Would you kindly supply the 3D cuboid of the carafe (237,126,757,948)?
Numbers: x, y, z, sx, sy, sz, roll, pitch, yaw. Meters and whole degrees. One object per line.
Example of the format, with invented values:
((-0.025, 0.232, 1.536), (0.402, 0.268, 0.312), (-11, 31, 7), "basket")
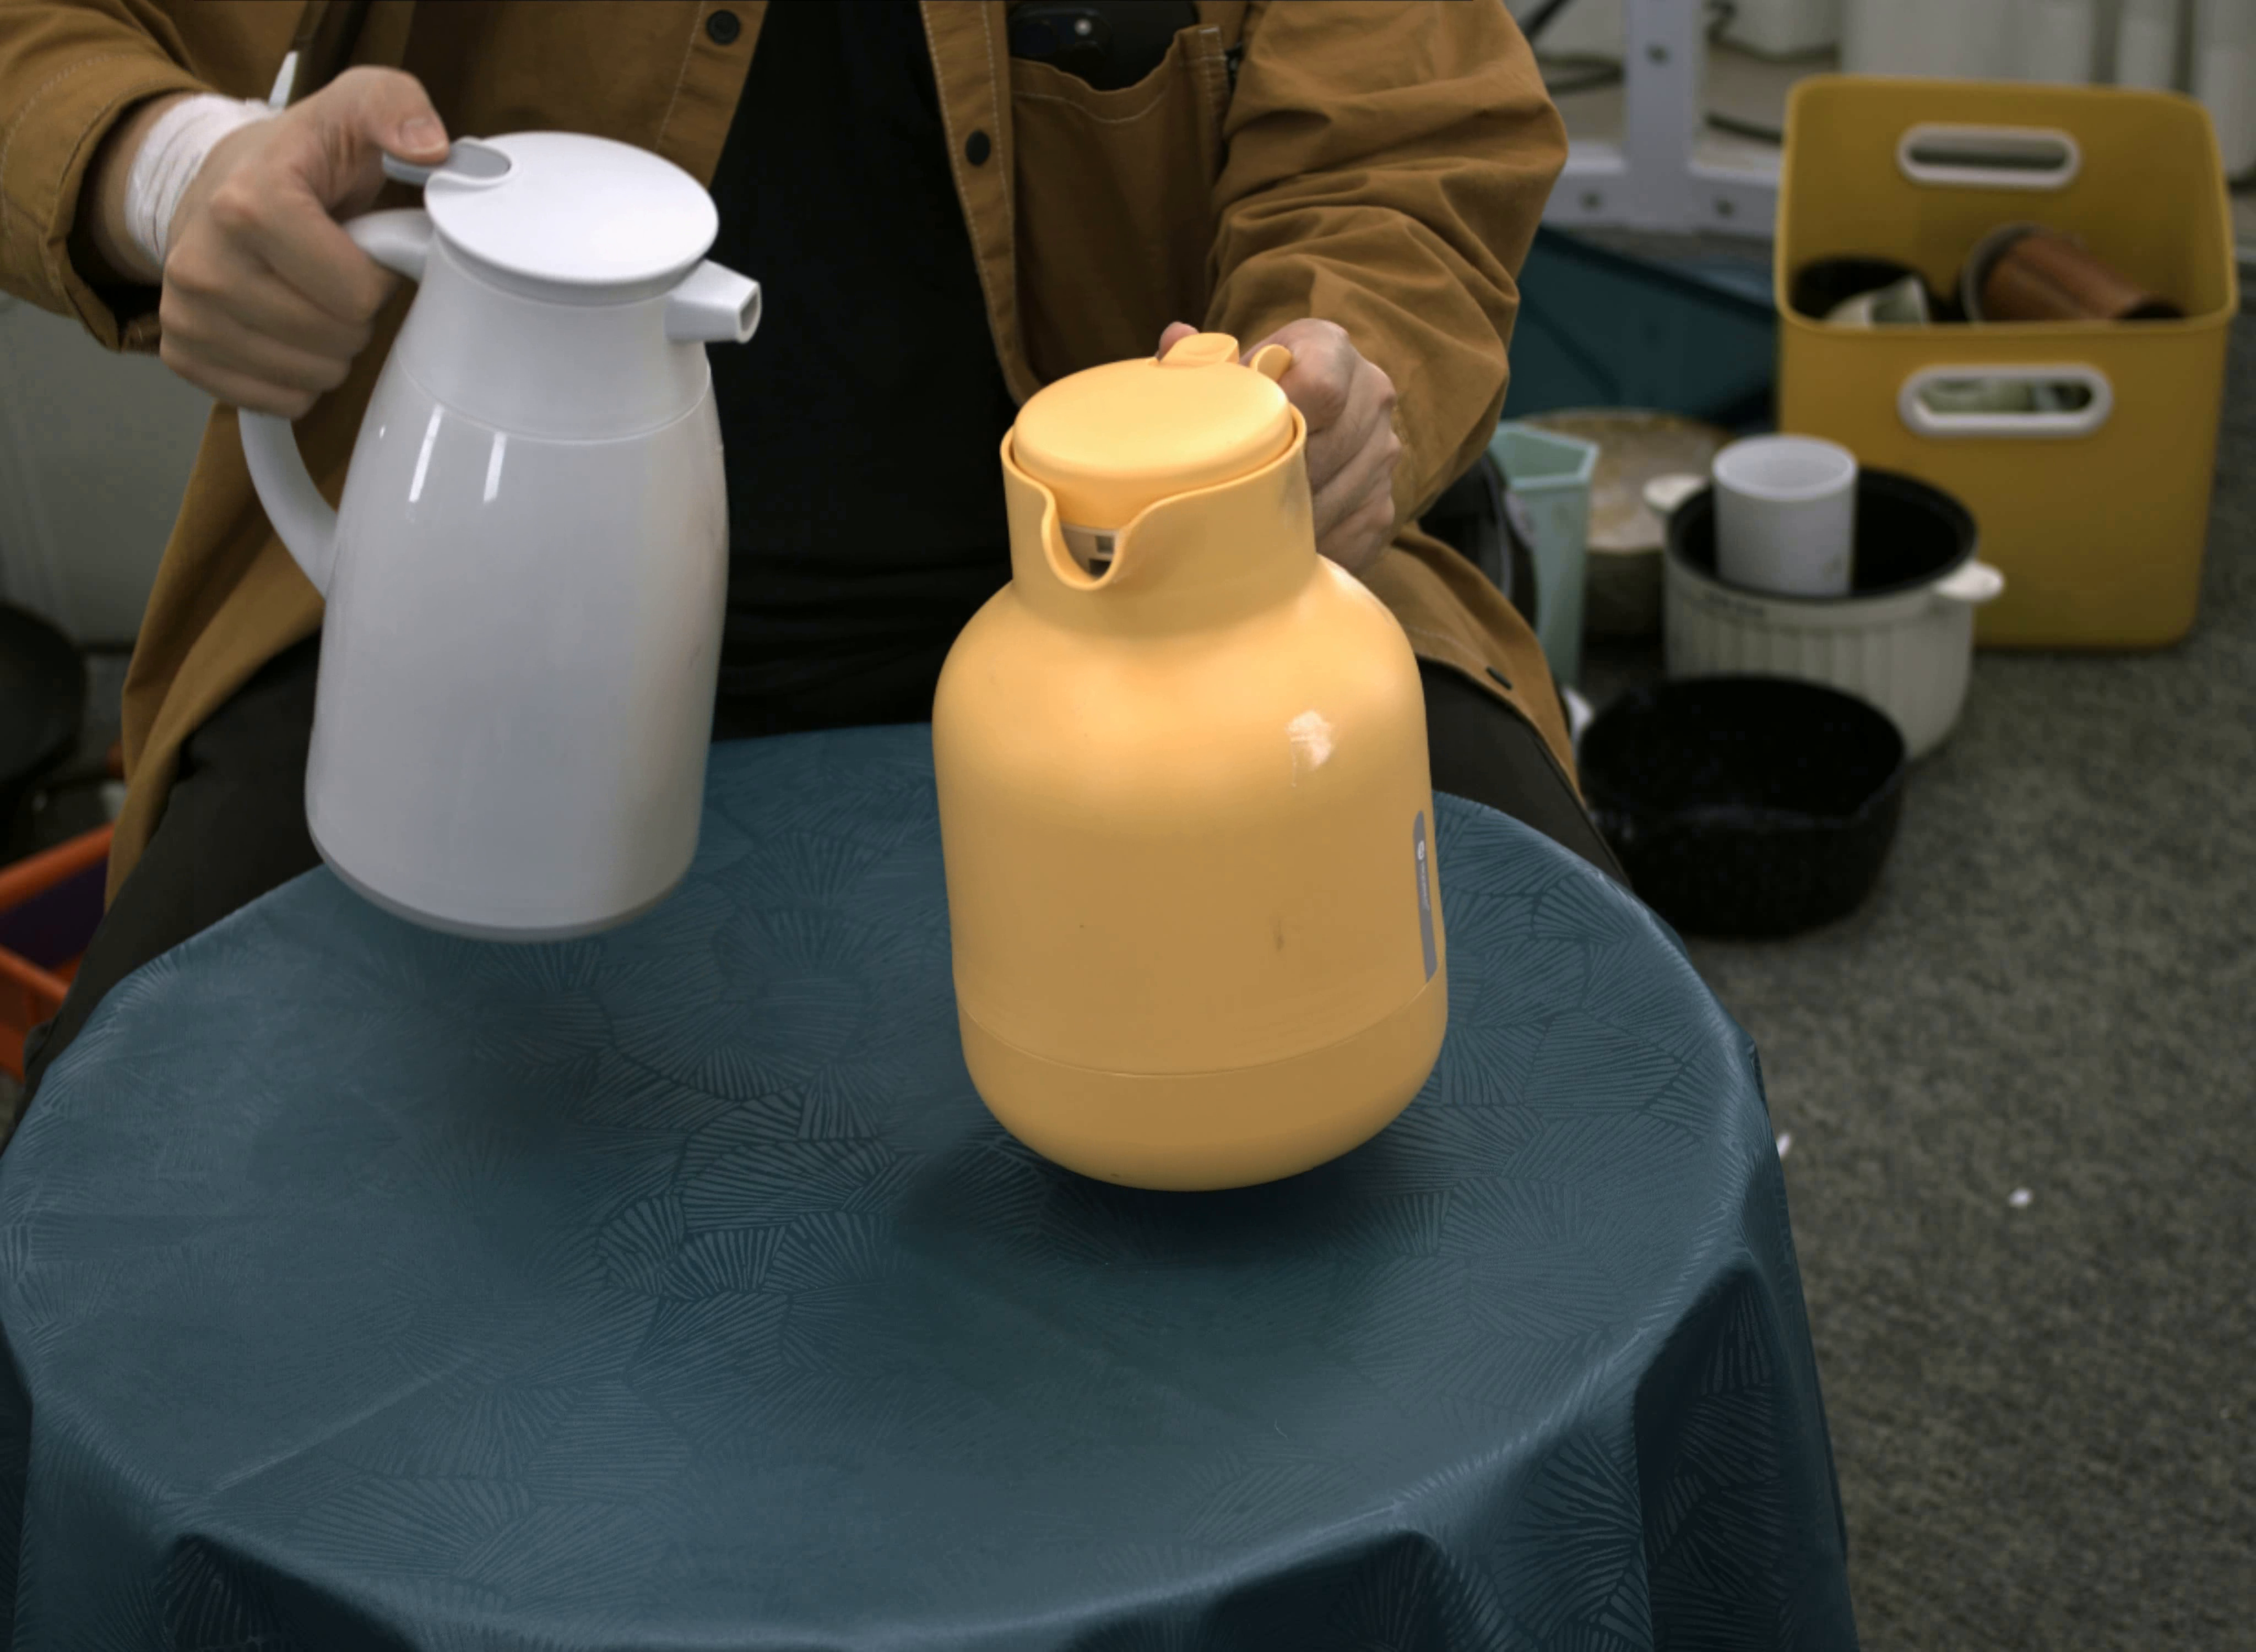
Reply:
((-0.209, -0.103, 1.817), (0.167, 0.245, 0.135), (16, 33, 10), "carafe")

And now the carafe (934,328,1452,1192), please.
((0.026, -0.030, 1.836), (0.162, 0.257, 0.206), (6, 29, 20), "carafe")
